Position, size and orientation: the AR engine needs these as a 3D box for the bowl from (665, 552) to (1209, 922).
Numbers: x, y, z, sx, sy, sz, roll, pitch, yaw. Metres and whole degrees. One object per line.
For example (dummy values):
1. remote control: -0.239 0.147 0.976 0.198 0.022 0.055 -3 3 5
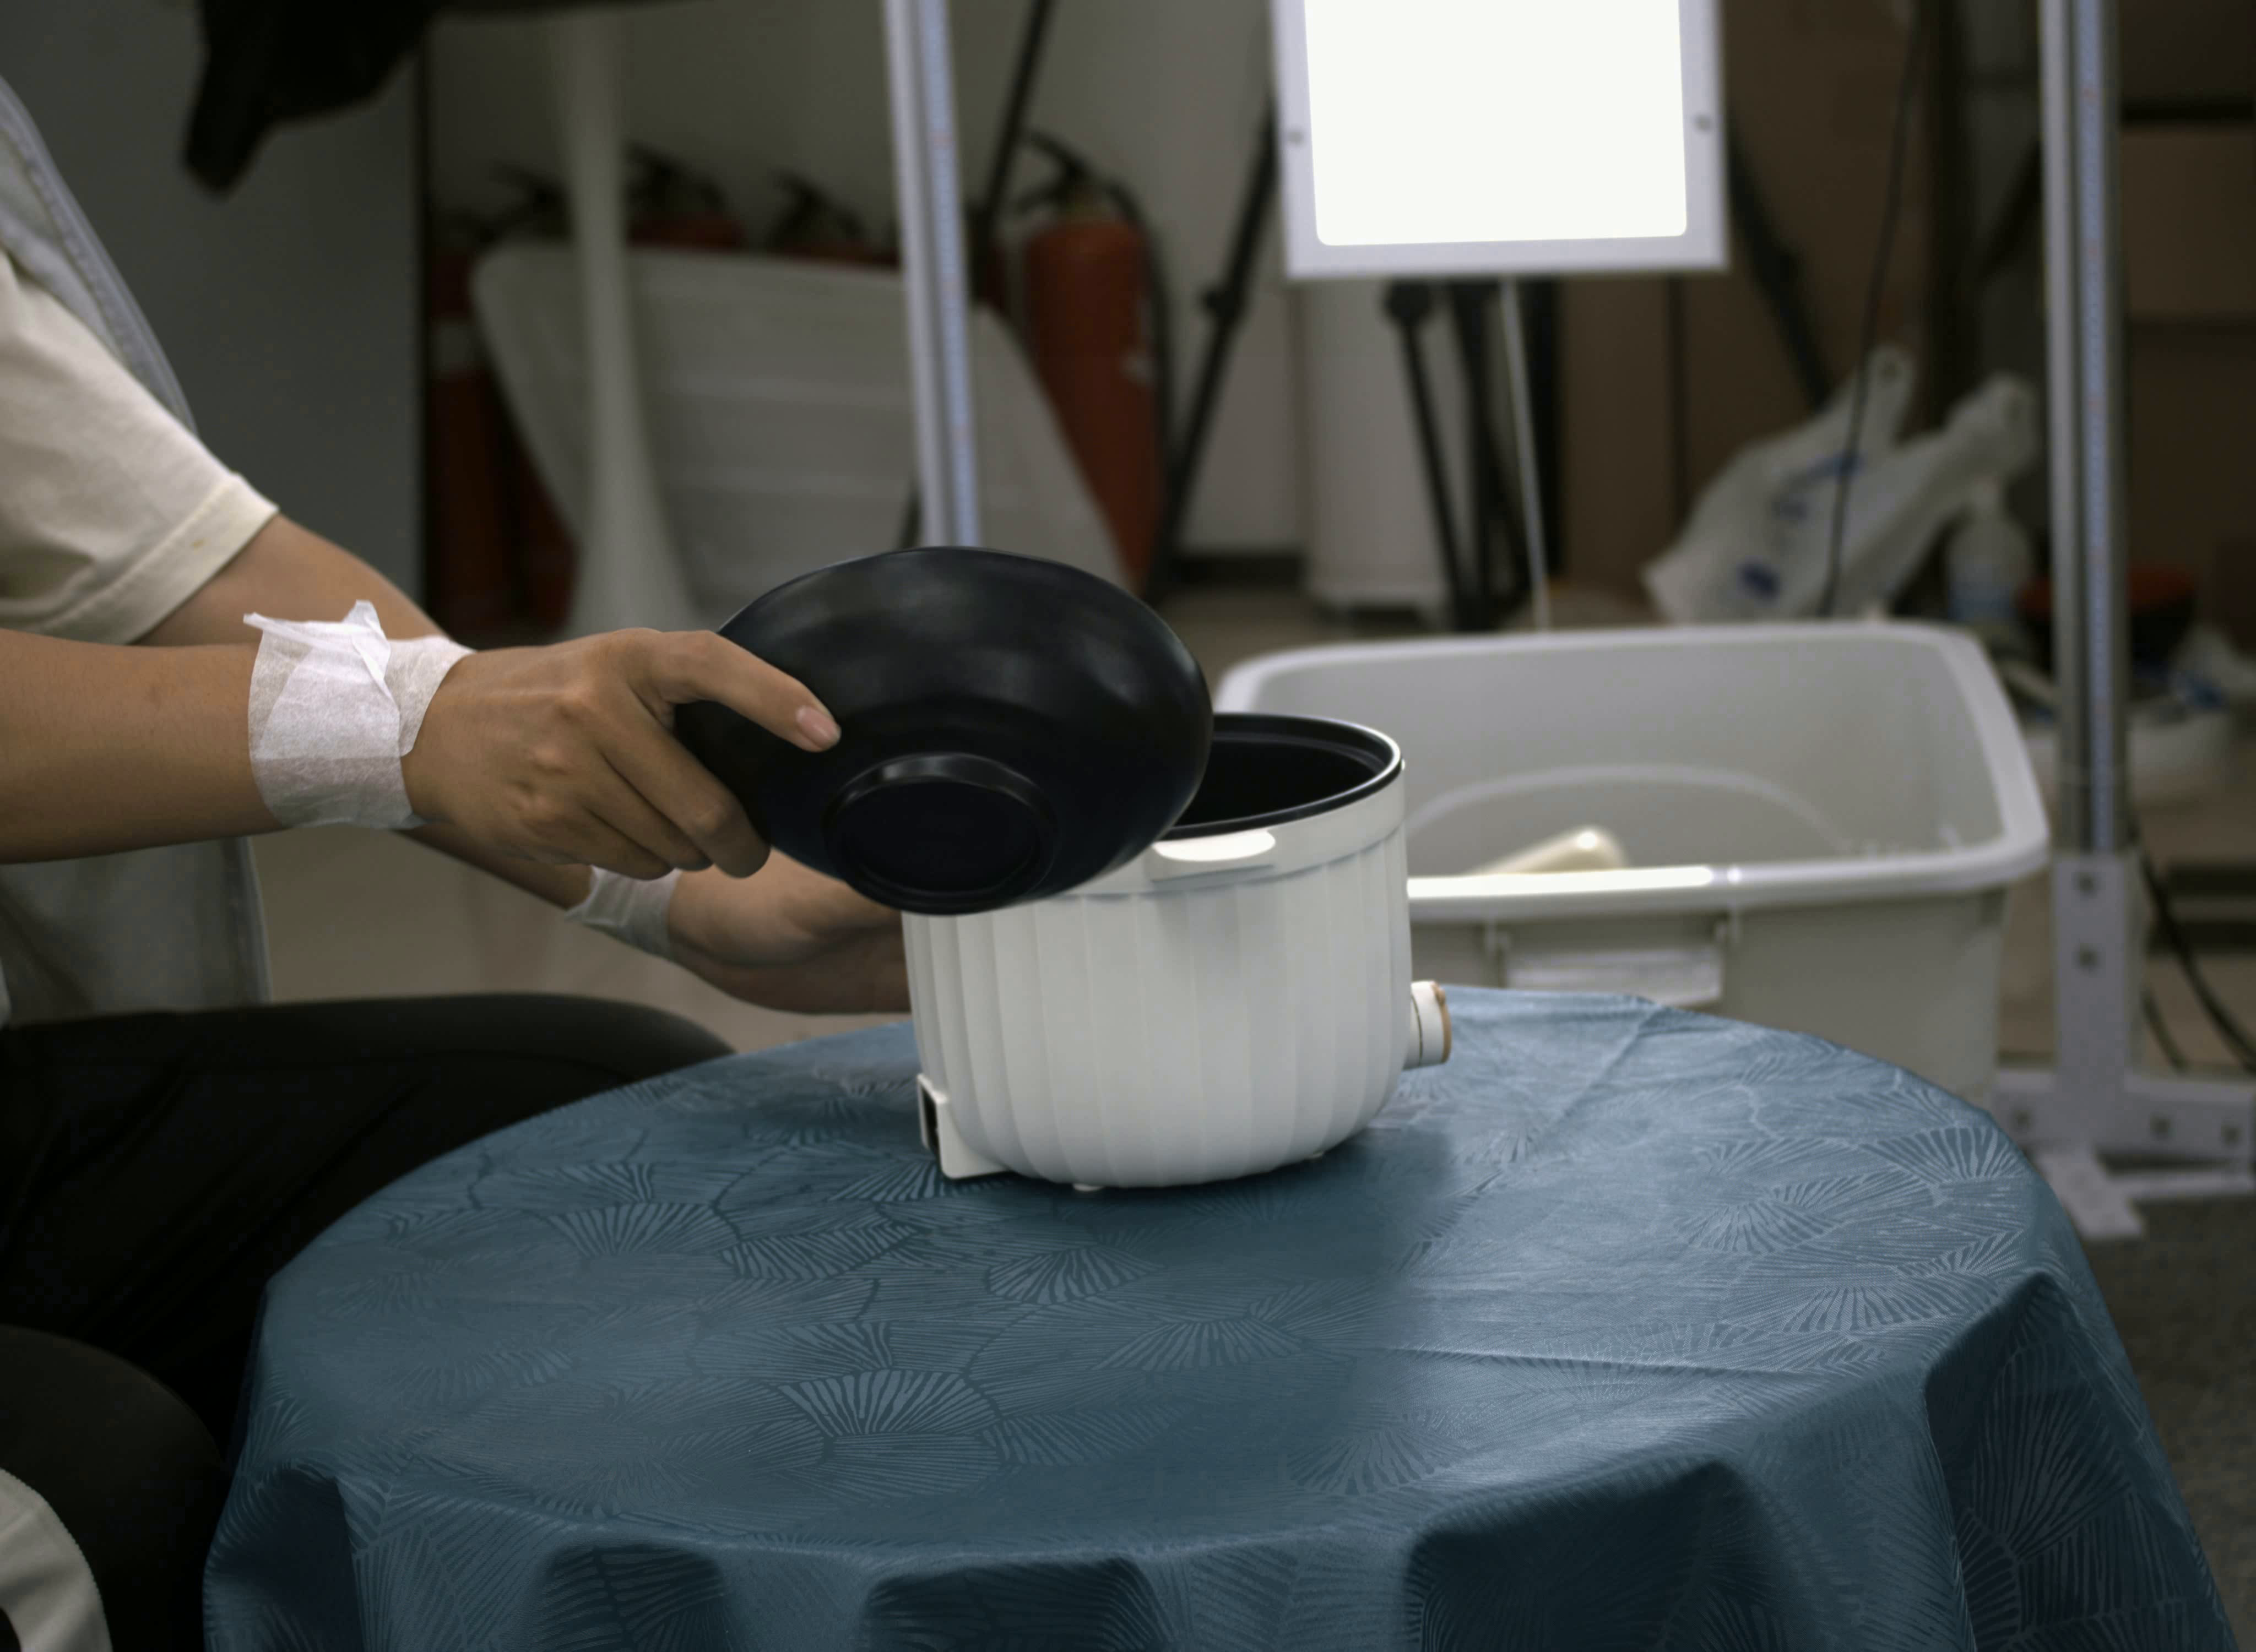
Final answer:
1. bowl: -0.057 -0.017 1.684 0.168 0.139 0.066 11 49 -13

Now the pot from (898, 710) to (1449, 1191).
1. pot: 0.015 0.044 1.939 0.188 0.143 0.242 -11 15 -11
